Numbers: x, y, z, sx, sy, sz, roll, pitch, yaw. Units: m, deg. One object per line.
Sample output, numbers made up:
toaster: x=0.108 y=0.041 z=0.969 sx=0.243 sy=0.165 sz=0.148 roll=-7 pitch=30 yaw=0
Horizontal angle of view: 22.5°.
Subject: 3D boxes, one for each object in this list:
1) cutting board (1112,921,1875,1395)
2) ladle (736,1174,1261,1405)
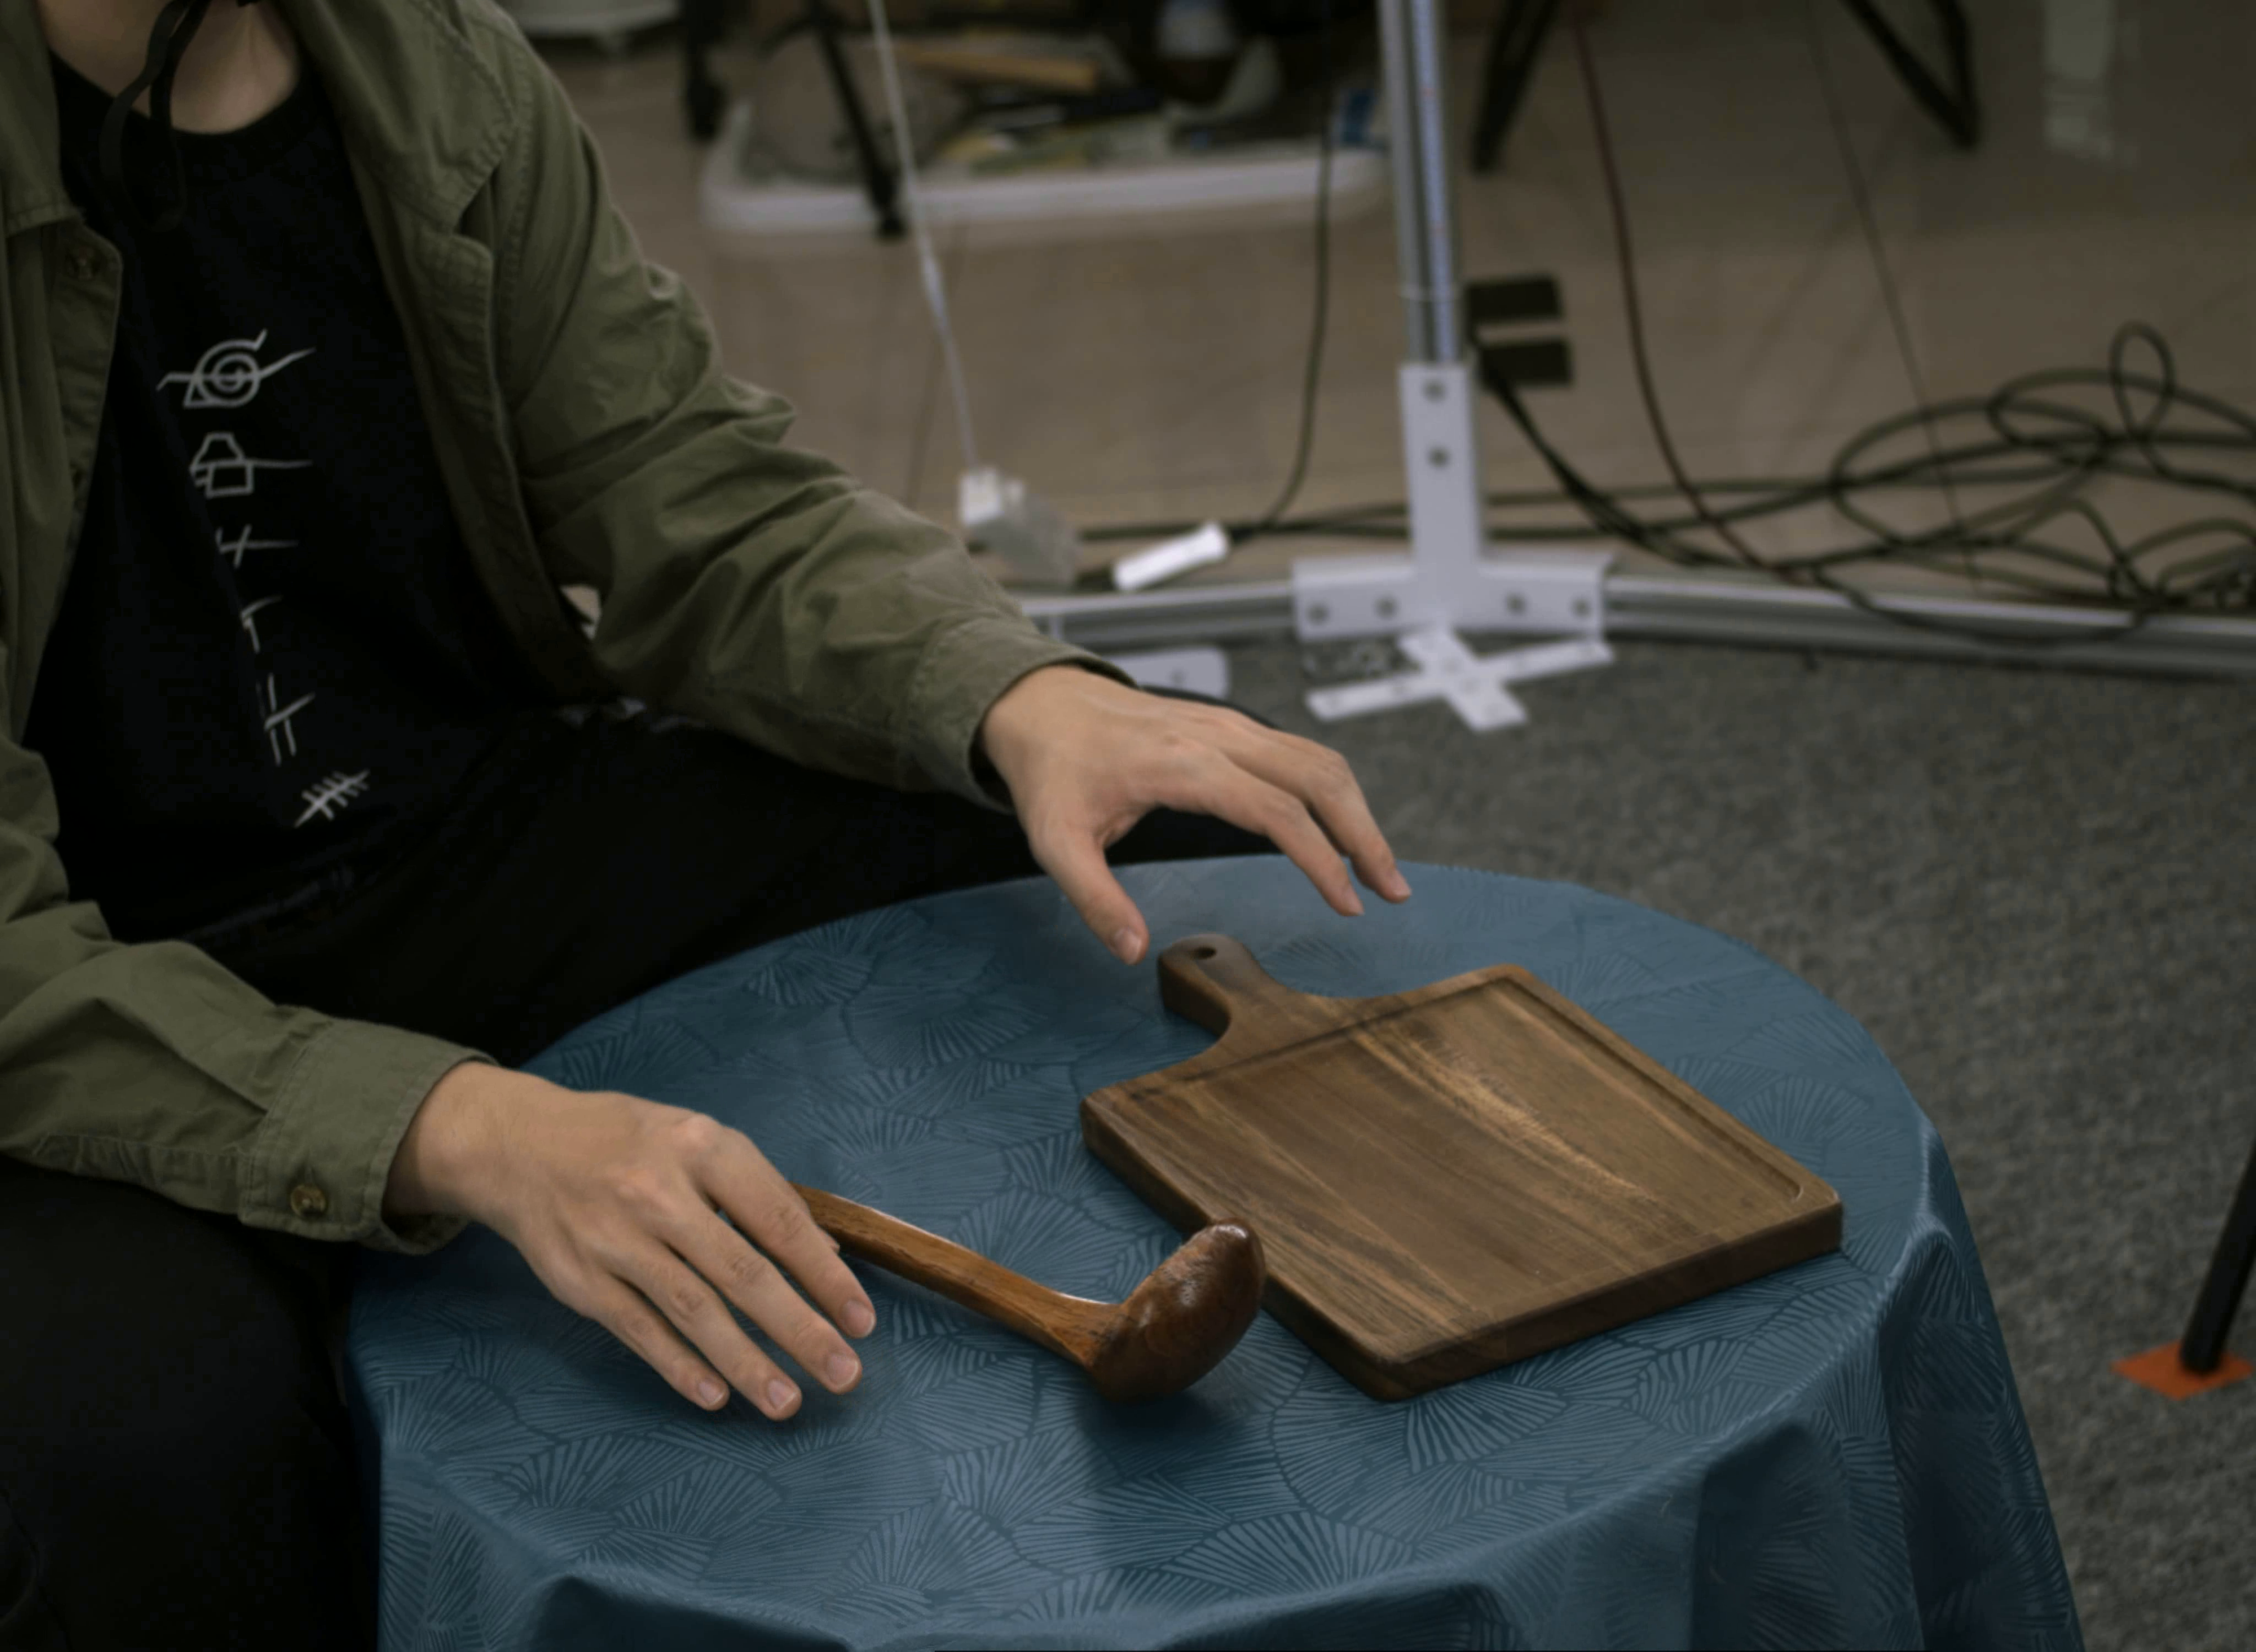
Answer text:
cutting board: x=0.112 y=0.108 z=2.164 sx=0.200 sy=0.023 sz=0.348 roll=-16 pitch=27 yaw=-20
ladle: x=-0.059 y=0.147 z=2.060 sx=0.081 sy=0.078 sz=0.272 roll=-32 pitch=35 yaw=-33
